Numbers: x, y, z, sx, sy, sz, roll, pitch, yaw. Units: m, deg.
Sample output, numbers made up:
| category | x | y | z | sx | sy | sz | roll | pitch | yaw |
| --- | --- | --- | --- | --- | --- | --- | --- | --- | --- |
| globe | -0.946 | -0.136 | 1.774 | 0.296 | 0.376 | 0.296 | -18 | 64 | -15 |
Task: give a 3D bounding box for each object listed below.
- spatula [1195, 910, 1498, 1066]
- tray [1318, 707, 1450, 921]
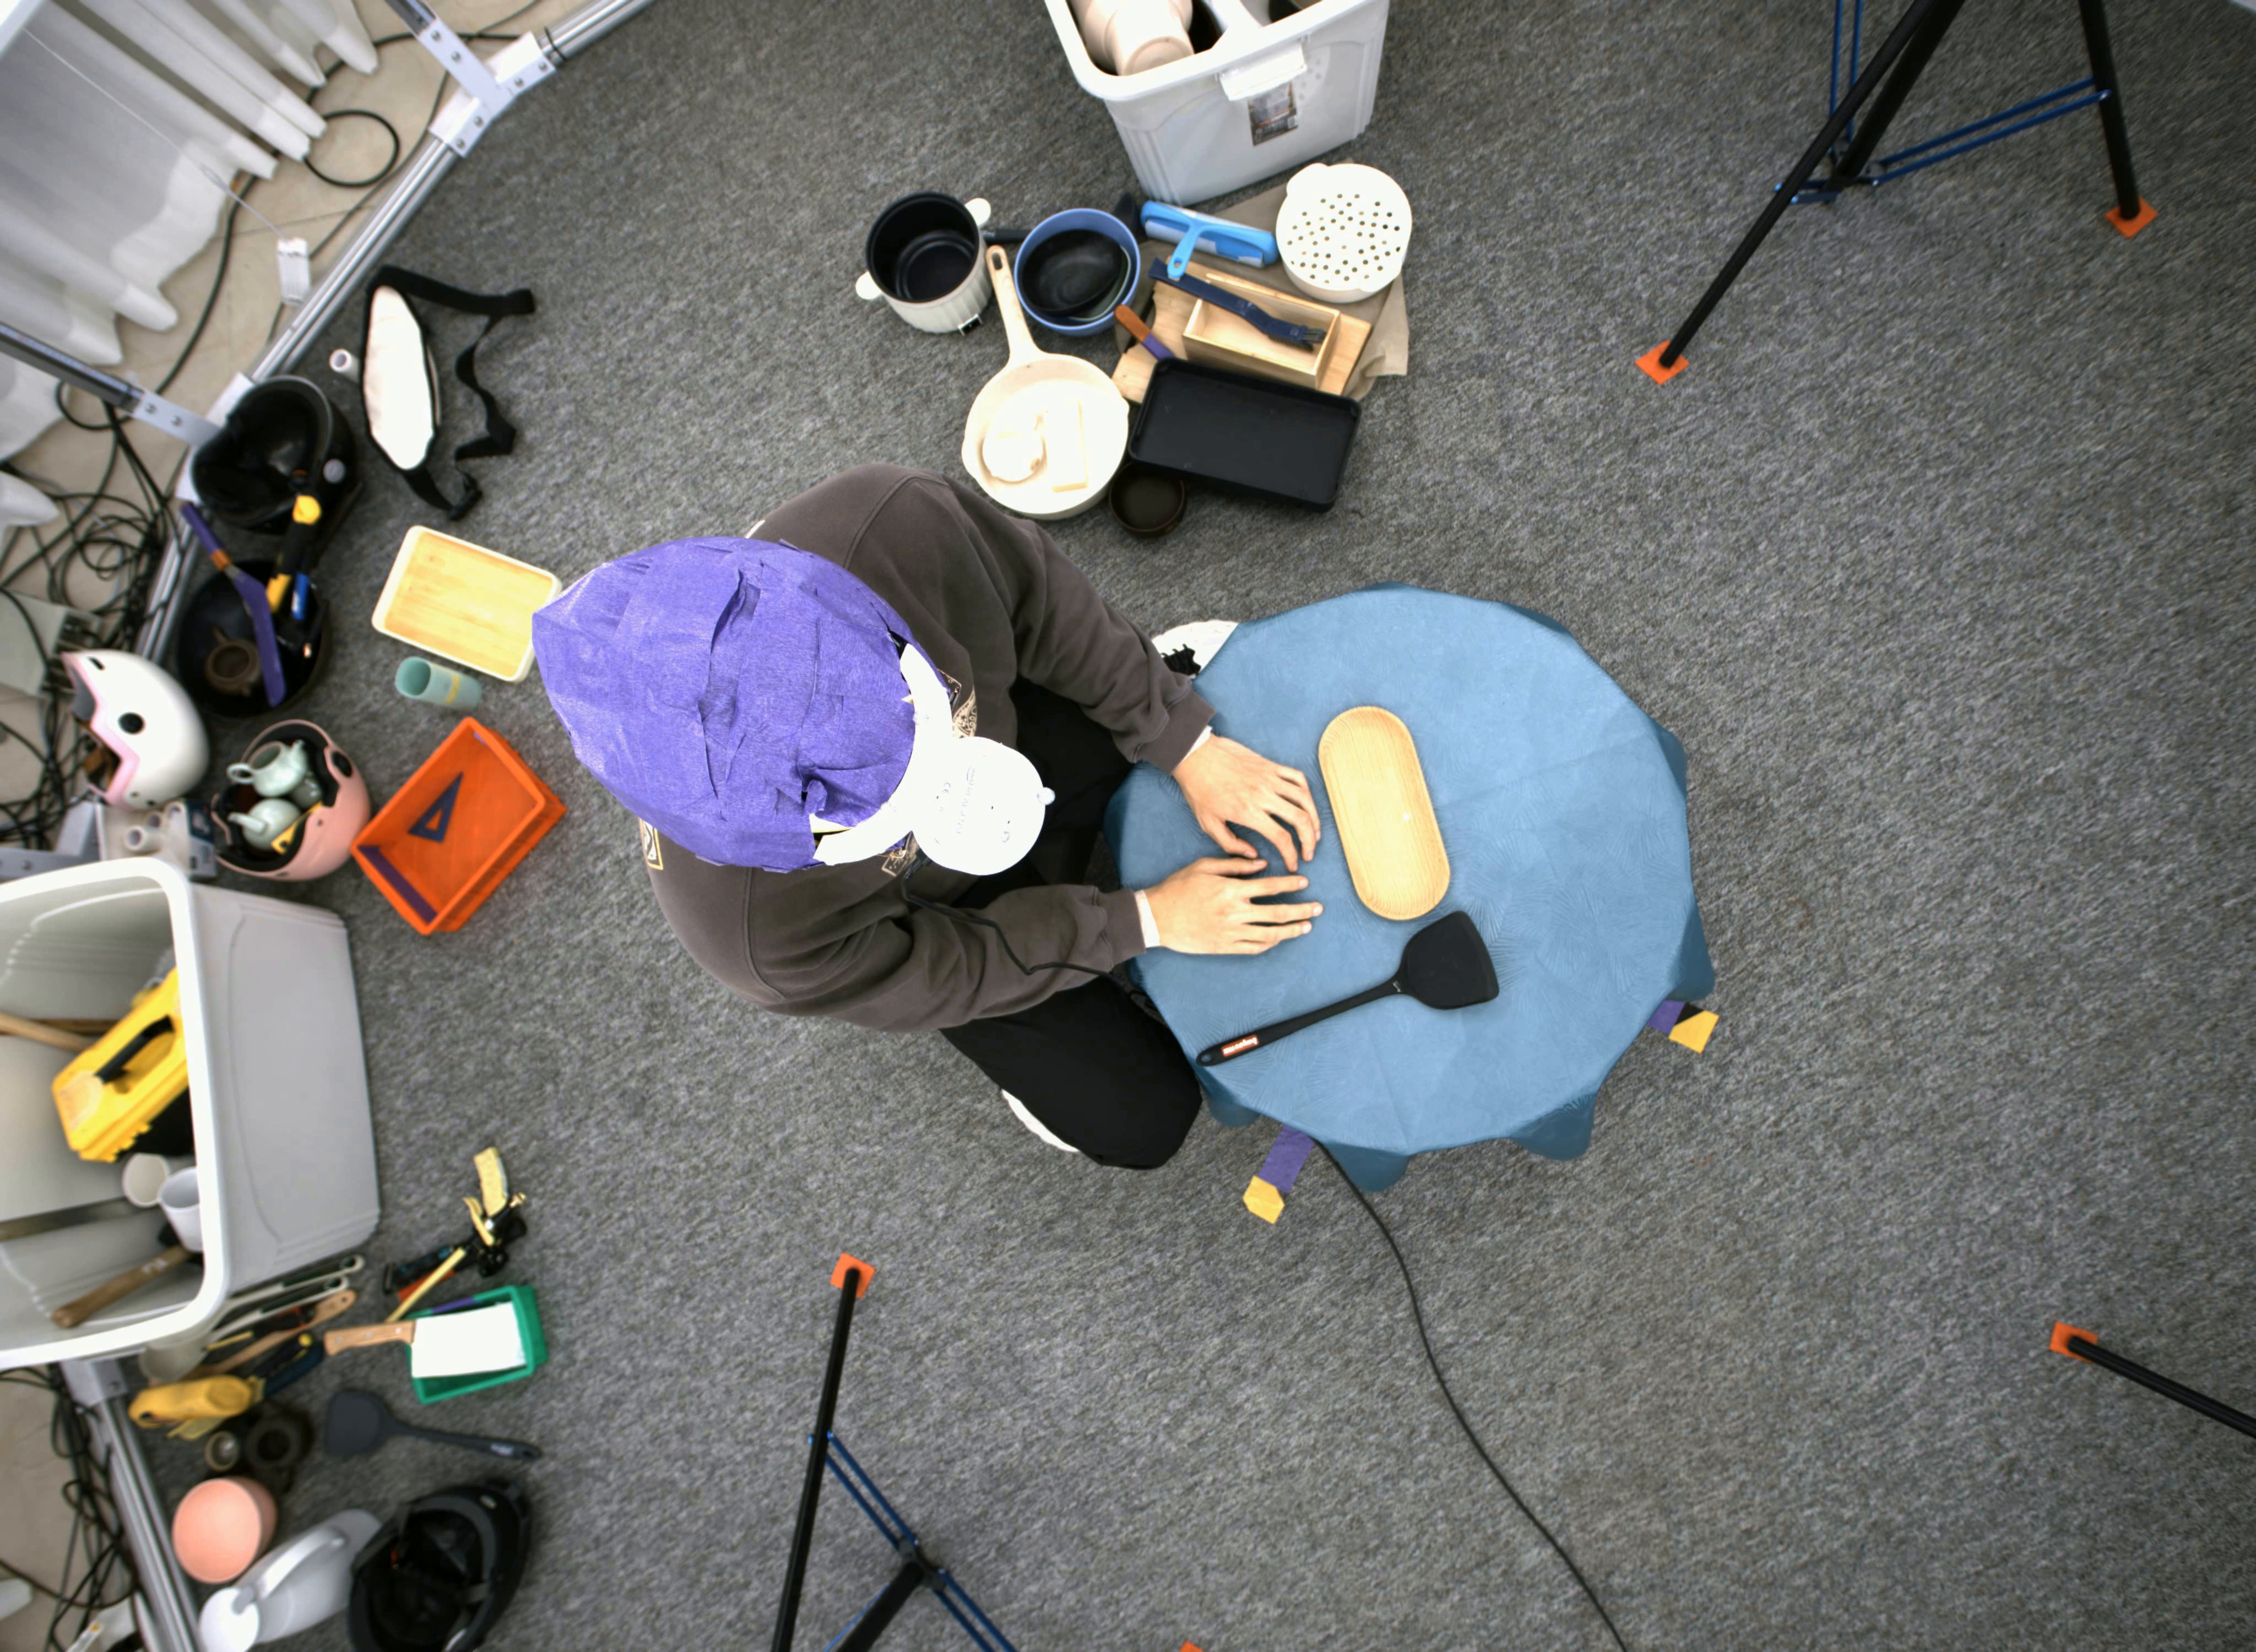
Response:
| category | x | y | z | sx | sy | sz | roll | pitch | yaw |
| --- | --- | --- | --- | --- | --- | --- | --- | --- | --- |
| spatula | 0.219 | 0.188 | 1.443 | 0.328 | 0.040 | 0.099 | -23 | 82 | 9 |
| tray | 0.269 | -0.014 | 1.454 | 0.102 | 0.020 | 0.230 | -16 | 86 | 10 |
